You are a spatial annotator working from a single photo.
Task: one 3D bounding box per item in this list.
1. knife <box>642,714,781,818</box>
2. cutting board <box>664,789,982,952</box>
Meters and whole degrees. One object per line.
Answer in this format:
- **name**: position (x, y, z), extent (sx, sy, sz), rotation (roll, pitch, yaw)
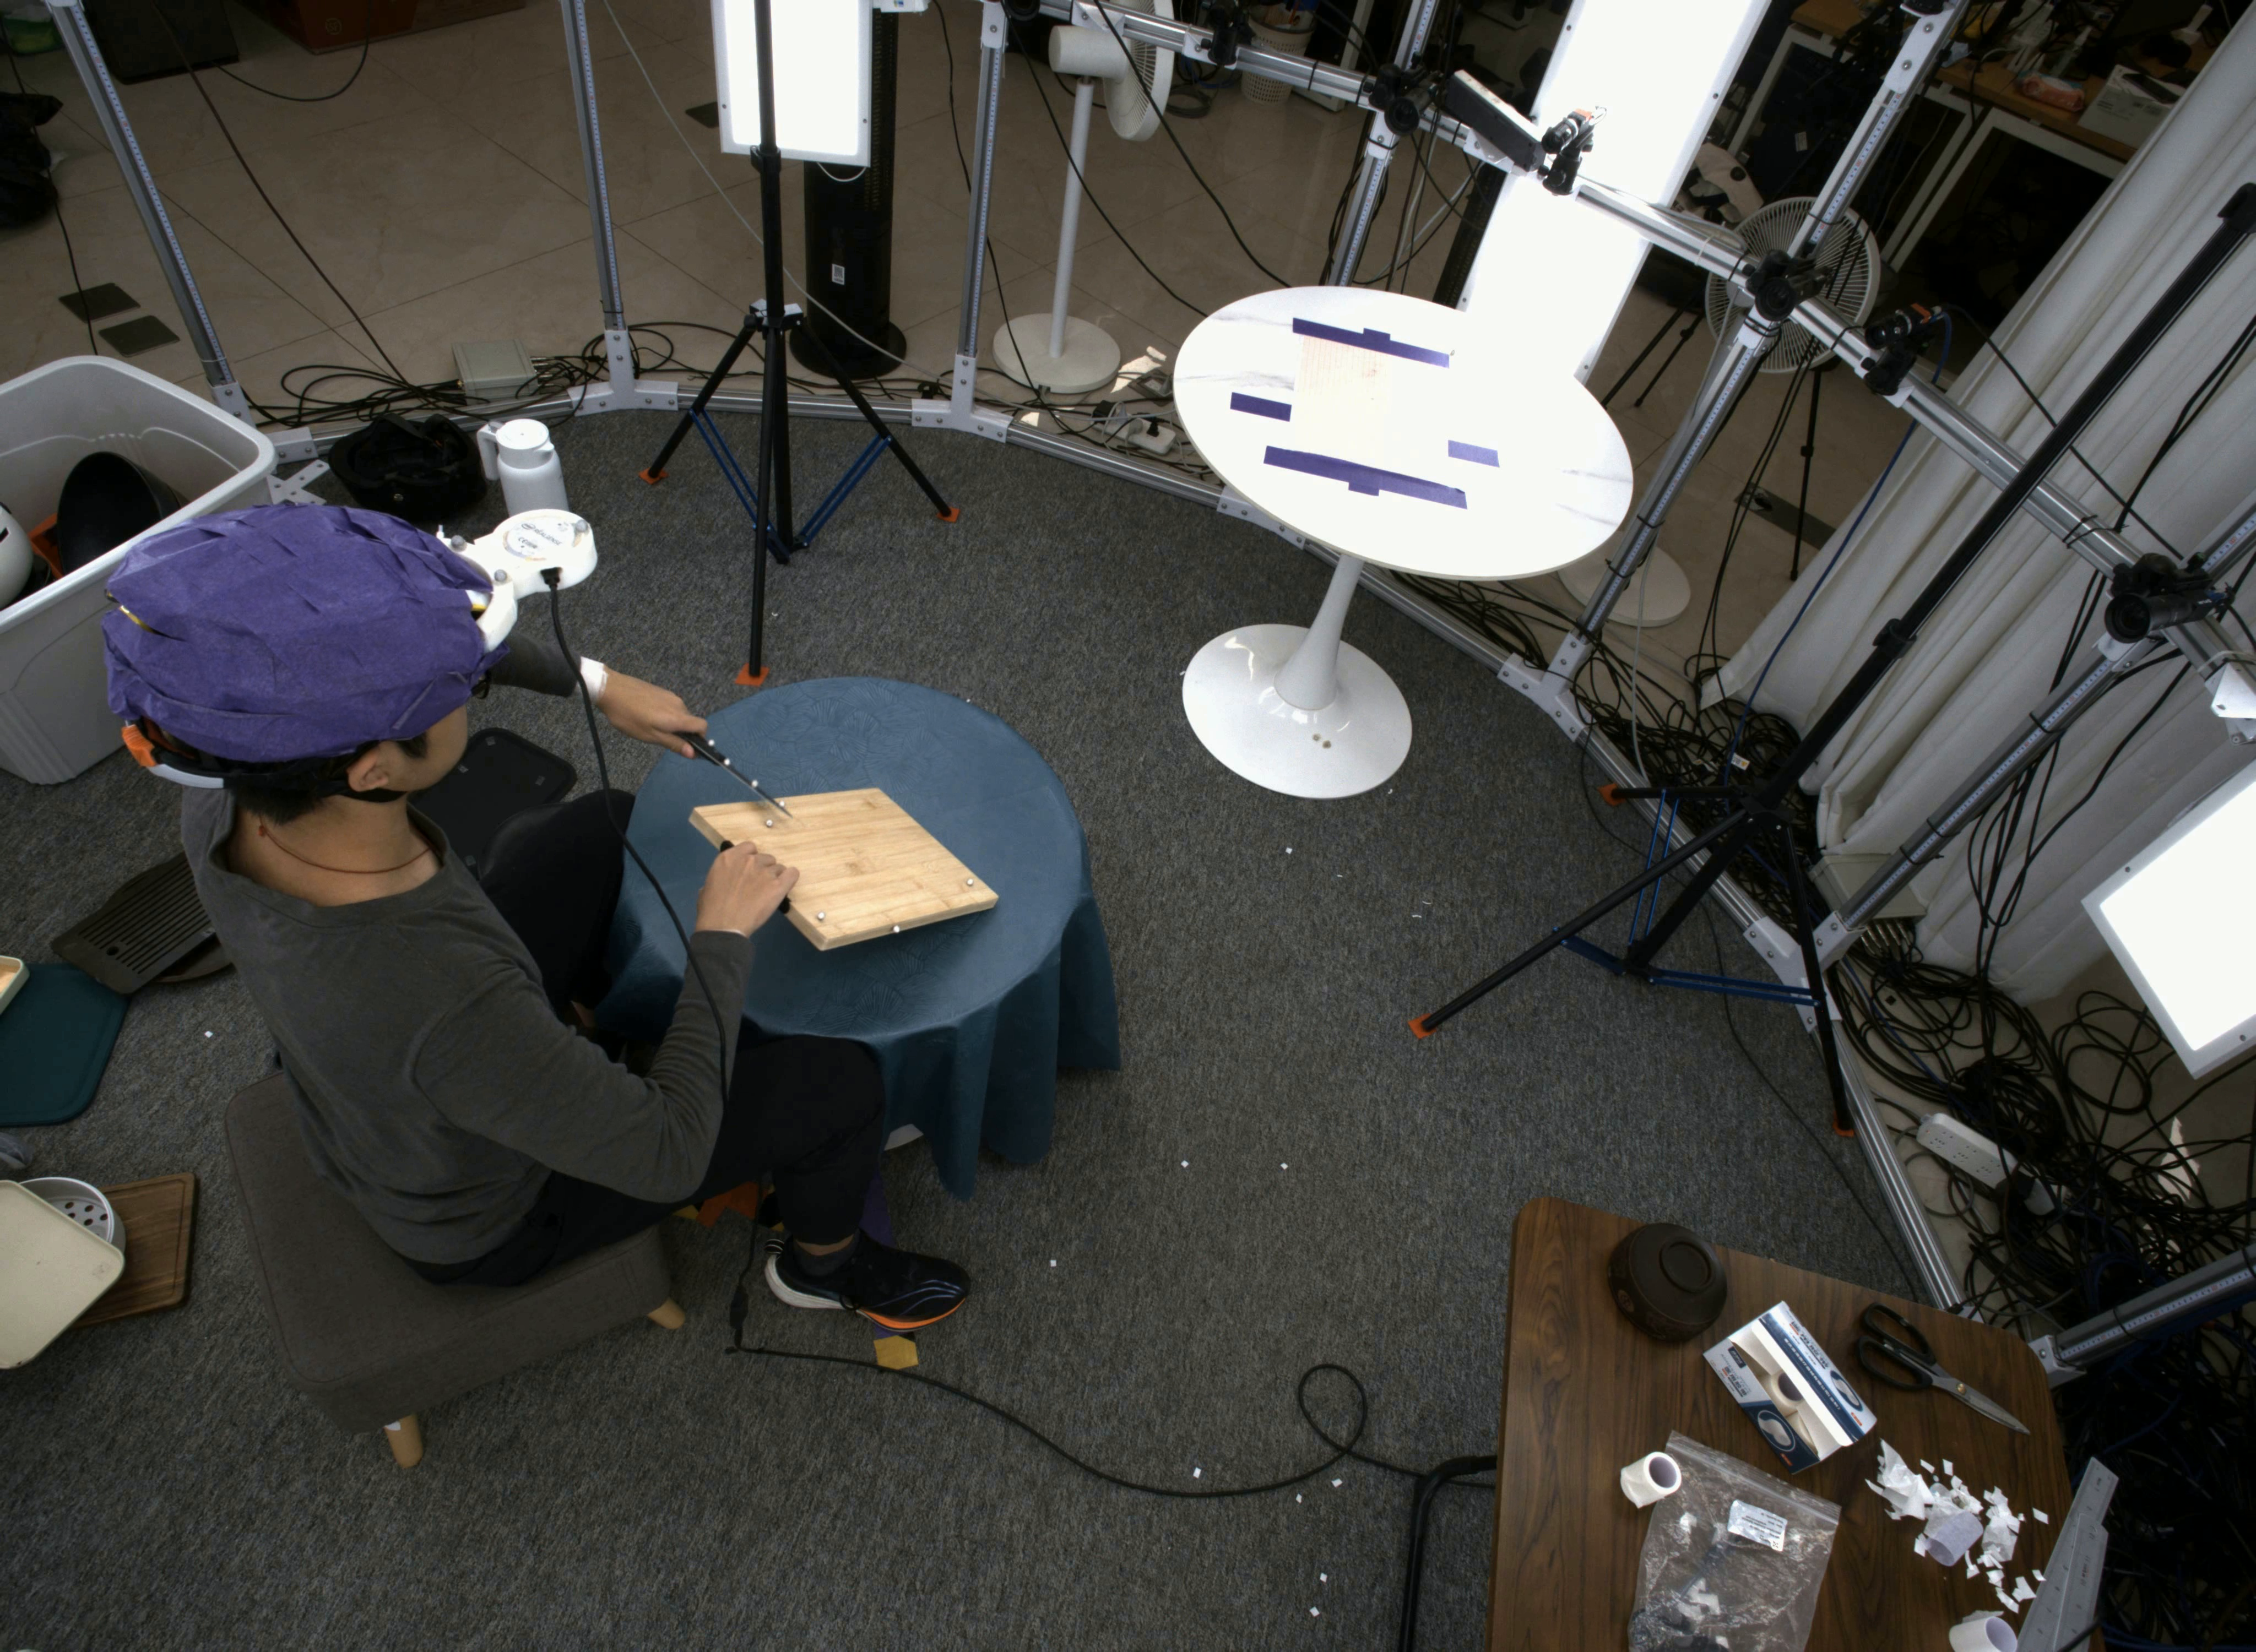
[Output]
- **knife**: position (-0.510, -0.074, 1.565), extent (0.233, 0.016, 0.025), rotation (33, 9, 12)
- **cutting board**: position (-0.359, 0.043, 1.587), extent (0.245, 0.024, 0.353), rotation (39, 21, 17)
